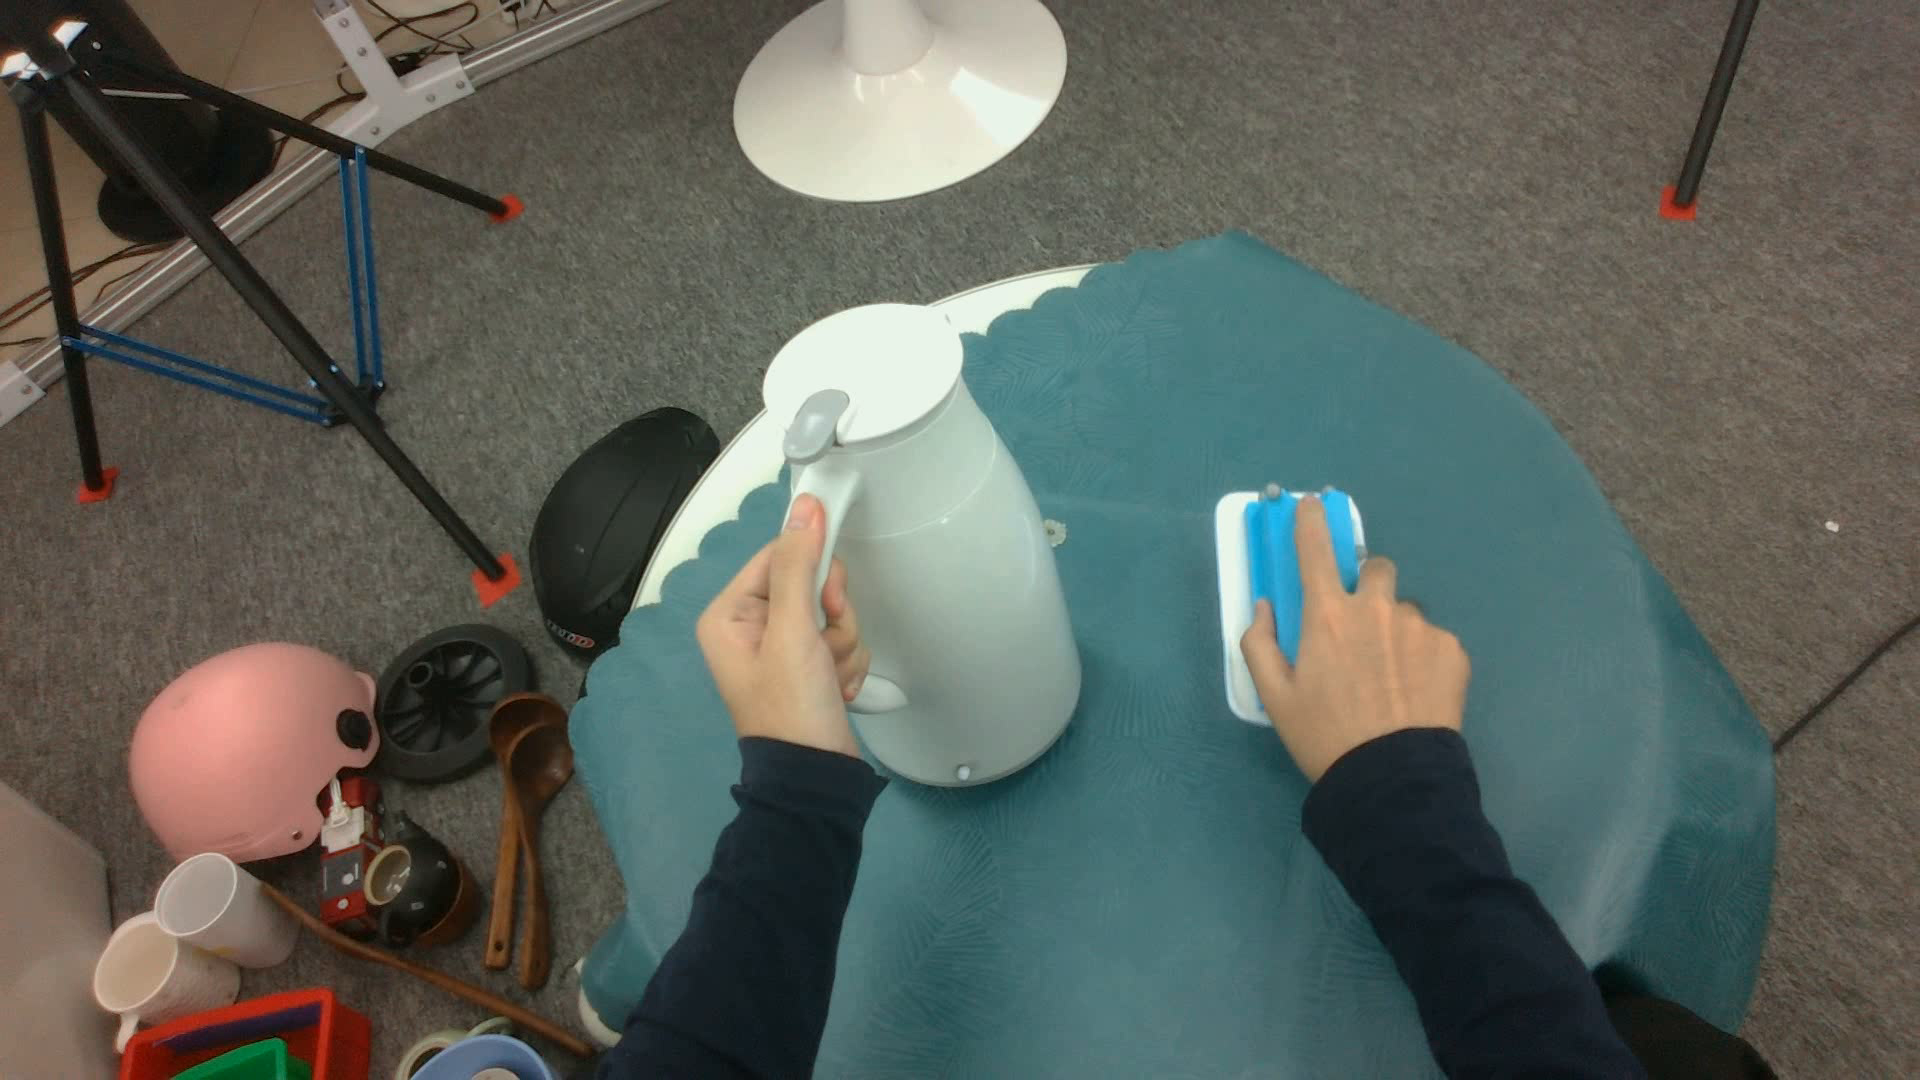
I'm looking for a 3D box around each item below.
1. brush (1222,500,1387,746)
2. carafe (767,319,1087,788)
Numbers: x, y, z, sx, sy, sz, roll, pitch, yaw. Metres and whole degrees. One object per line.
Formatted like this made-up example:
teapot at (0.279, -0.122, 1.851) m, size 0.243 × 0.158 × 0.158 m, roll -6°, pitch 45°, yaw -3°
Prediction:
brush at (0.183, 0.037, 0.734) m, size 0.084 × 0.055 × 0.144 m, roll 2°, pitch 58°, yaw 7°
carafe at (-0.024, 0.021, 0.695) m, size 0.132 × 0.247 × 0.168 m, roll 8°, pitch 52°, yaw 23°
